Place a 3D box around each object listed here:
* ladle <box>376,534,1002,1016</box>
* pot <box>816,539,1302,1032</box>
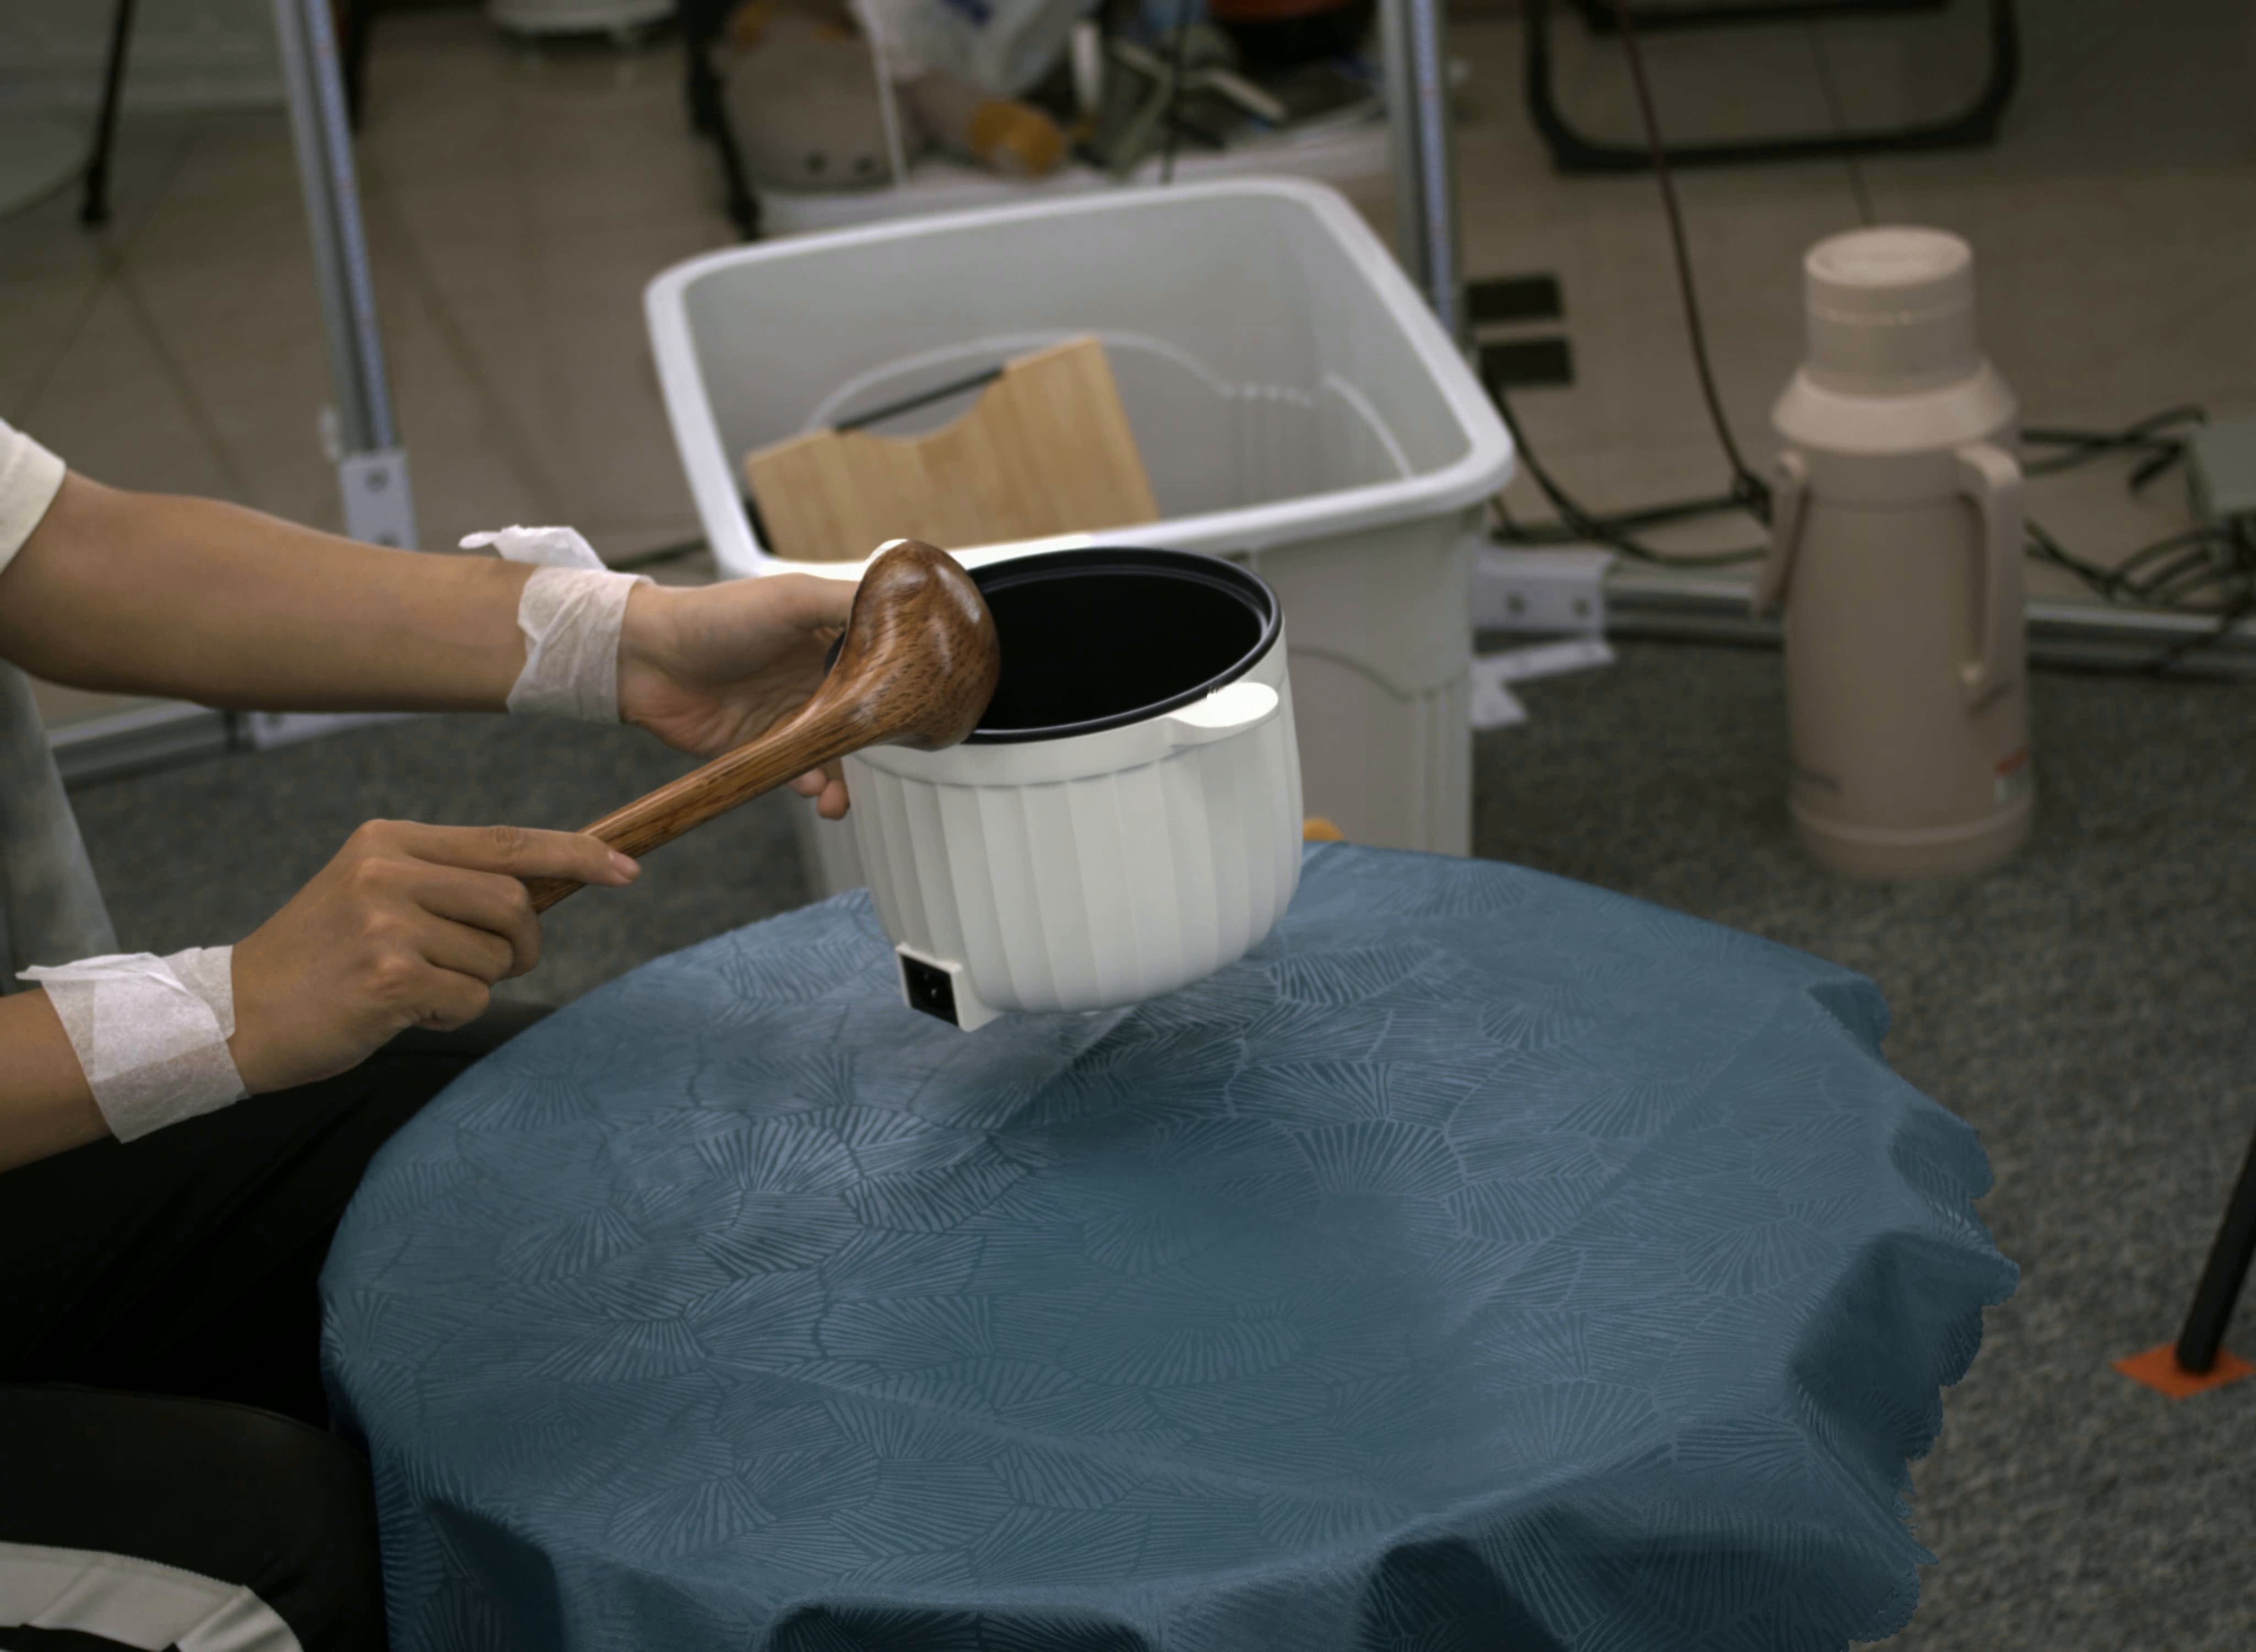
[{"bbox_3d":[-0.165,-0.018,2.093,0.273,0.083,0.076,-31,18,-11],"label":"ladle"},{"bbox_3d":[-0.018,-0.018,2.239,0.189,0.145,0.238,-31,35,-32],"label":"pot"}]
